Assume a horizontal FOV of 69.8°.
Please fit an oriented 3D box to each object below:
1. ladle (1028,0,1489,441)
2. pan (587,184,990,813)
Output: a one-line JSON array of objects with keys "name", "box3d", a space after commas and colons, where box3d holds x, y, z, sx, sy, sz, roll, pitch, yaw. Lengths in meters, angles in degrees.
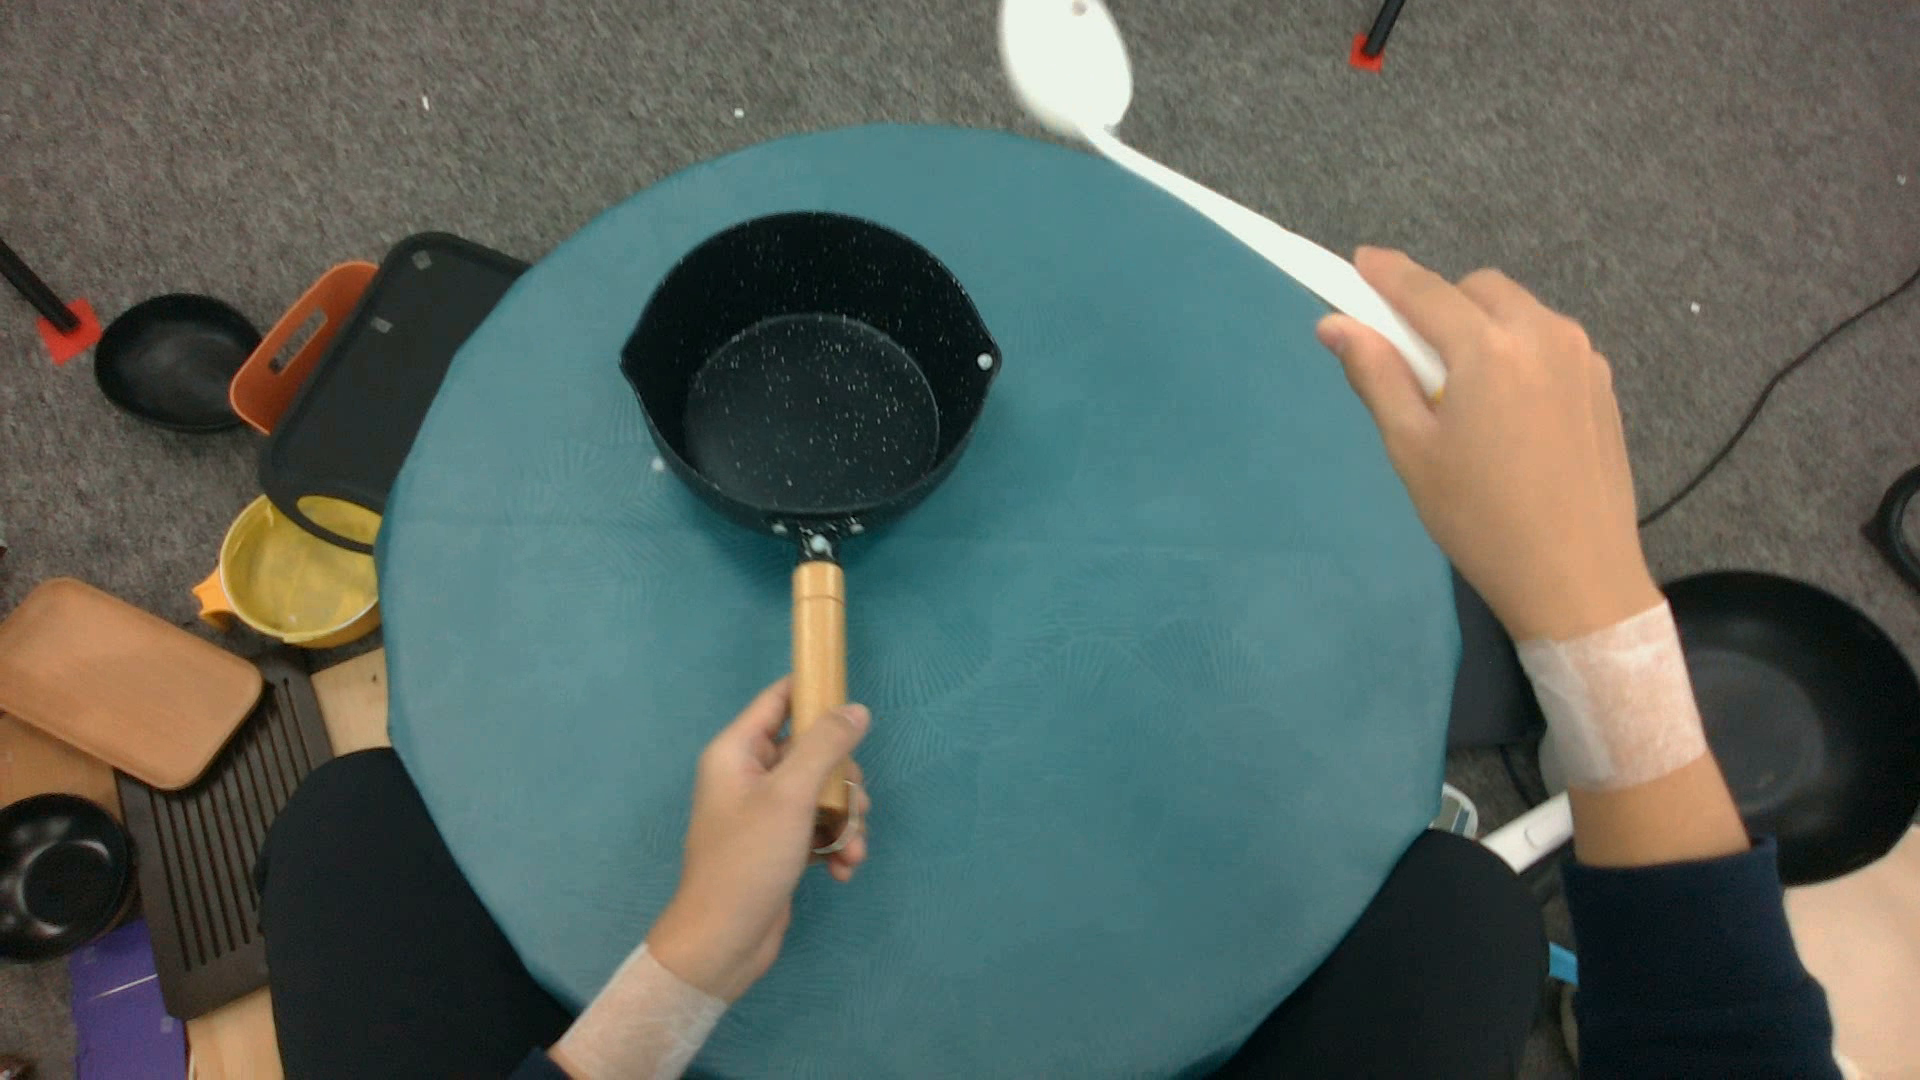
[{"name": "ladle", "box3d": [0.121, -0.160, 0.585, 0.070, 0.090, 0.293, -47, 58, 13]}, {"name": "pan", "box3d": [-0.085, -0.022, 0.715, 0.207, 0.108, 0.344, -2, 68, -9]}]
